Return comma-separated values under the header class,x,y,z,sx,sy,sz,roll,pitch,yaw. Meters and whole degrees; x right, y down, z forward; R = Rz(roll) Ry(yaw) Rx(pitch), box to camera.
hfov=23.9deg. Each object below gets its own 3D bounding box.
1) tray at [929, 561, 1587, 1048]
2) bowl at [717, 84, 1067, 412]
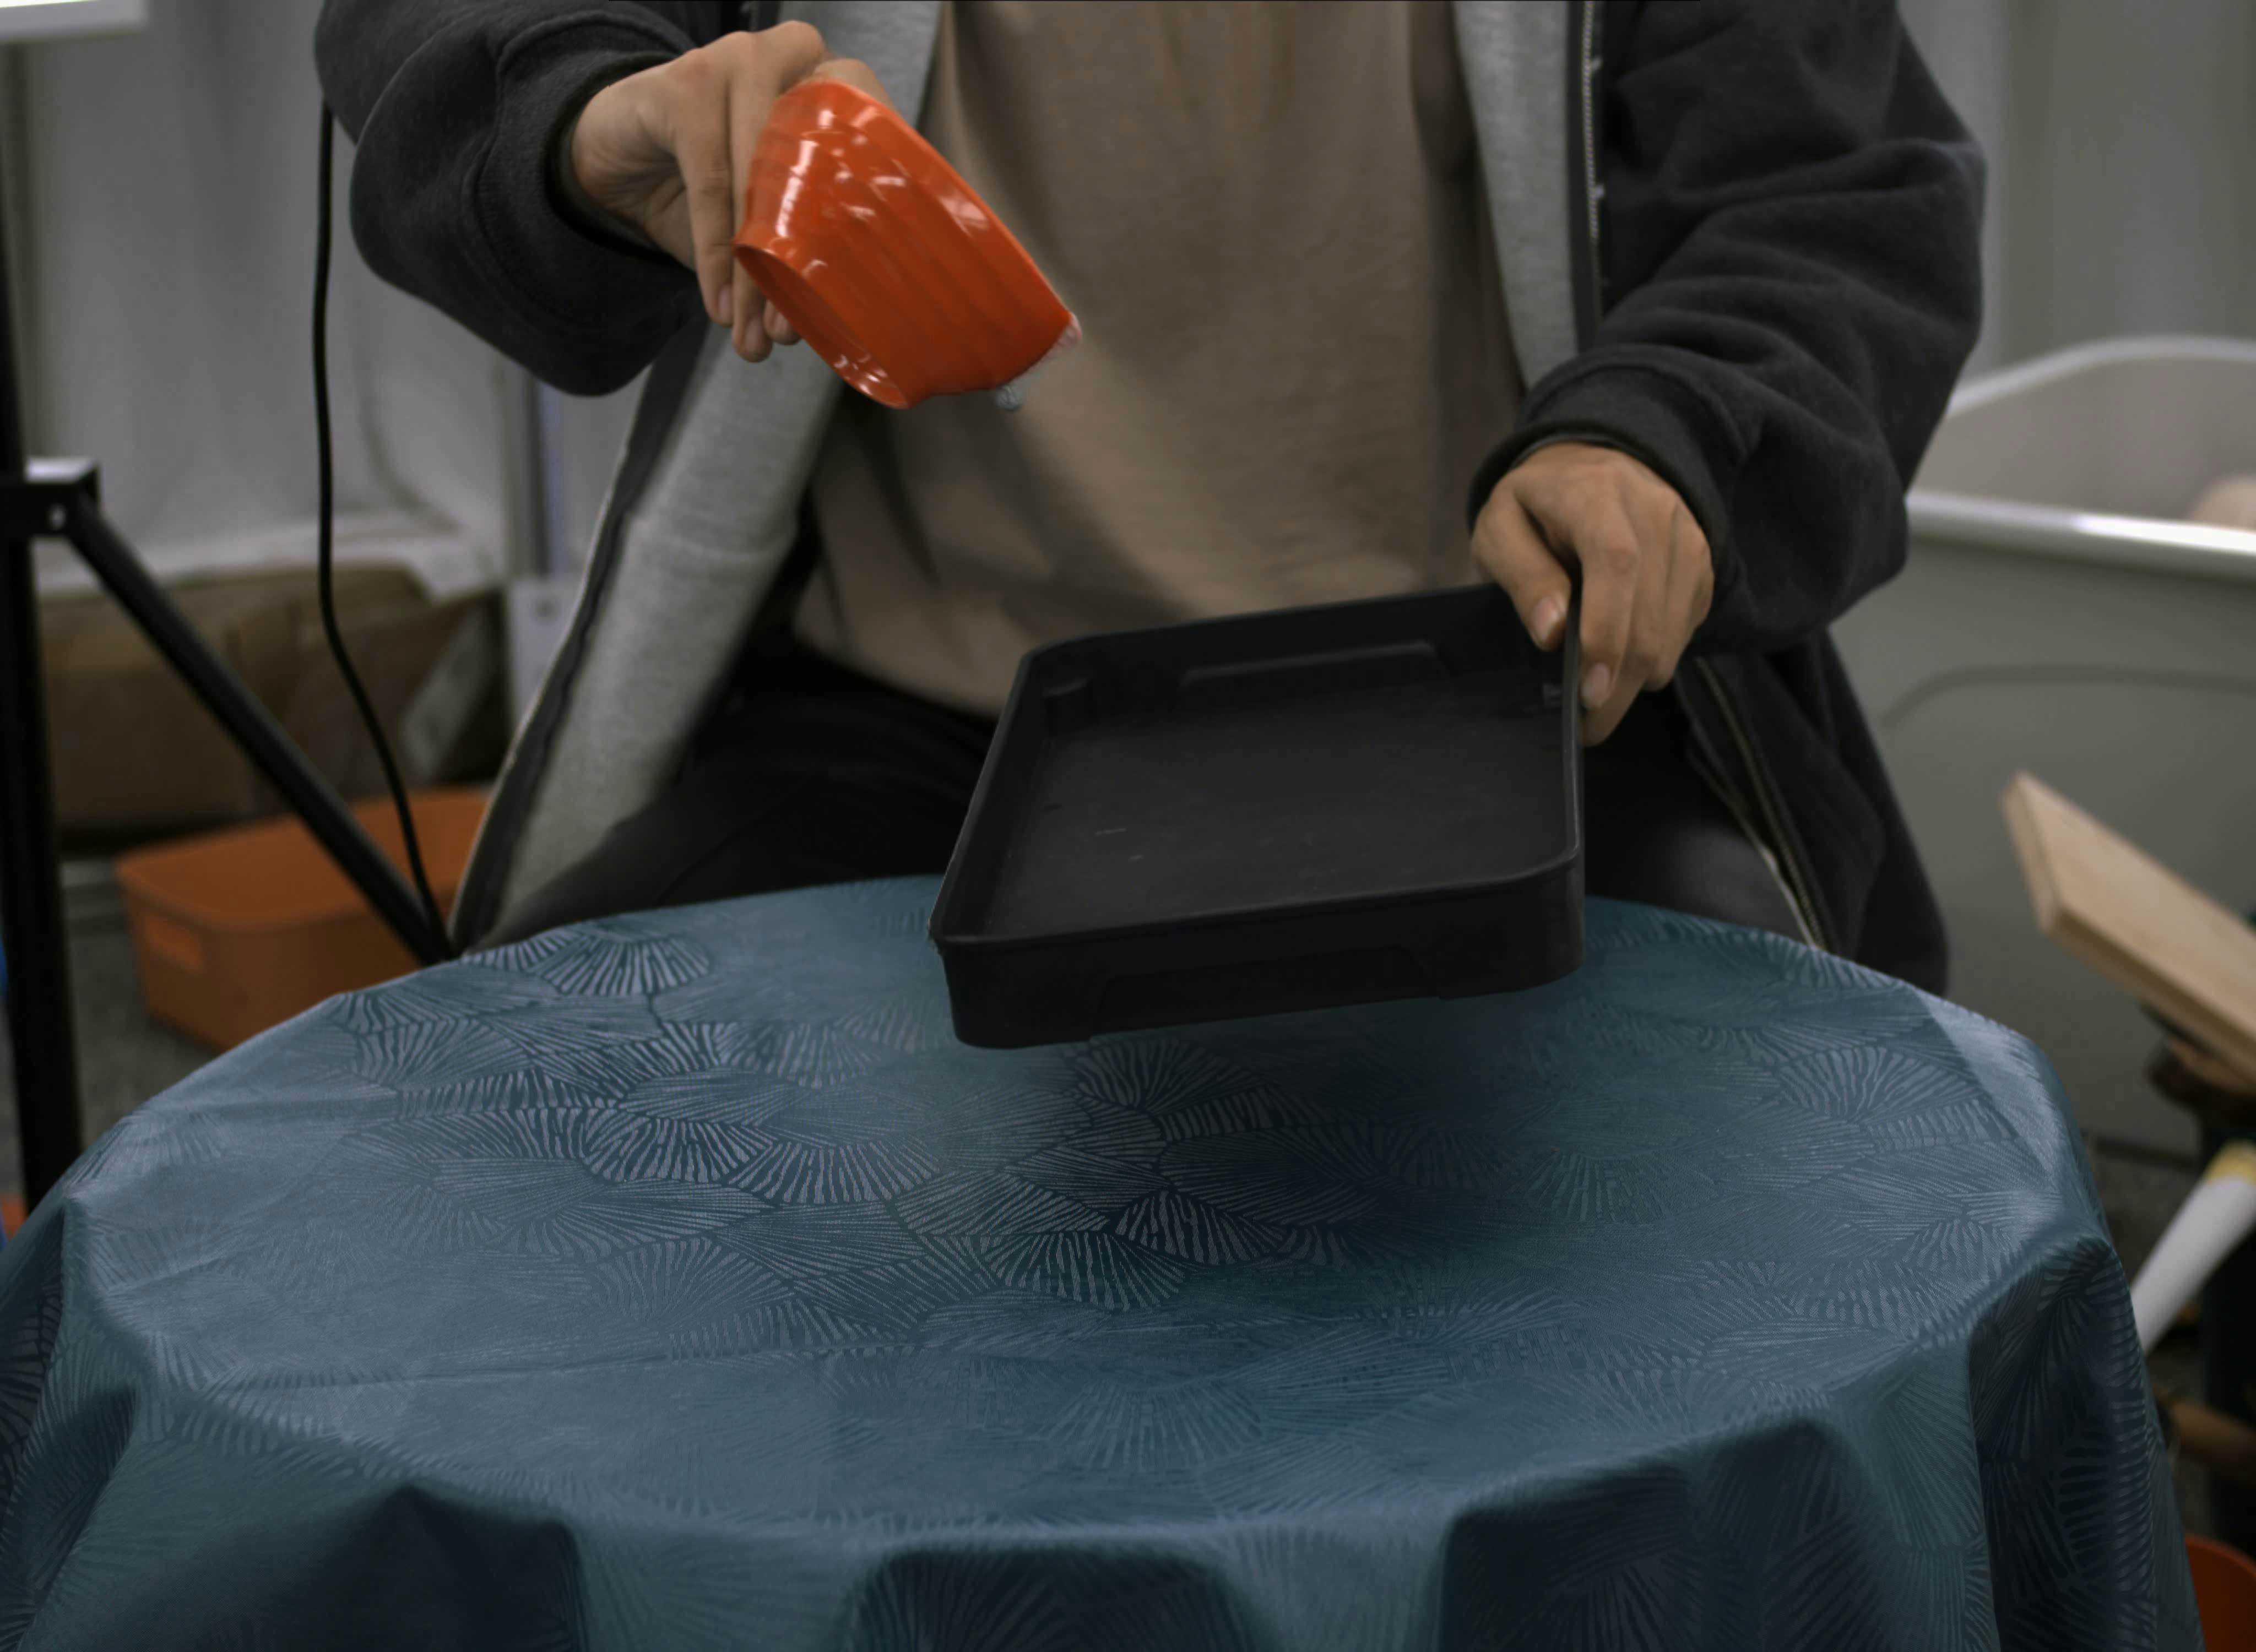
class,x,y,z,sx,sy,sz,roll,pitch,yaw
tray,0.046,-0.011,1.598,0.184,0.037,0.318,-7,18,7
bowl,-0.078,-0.162,1.567,0.118,0.051,0.119,38,0,-2
